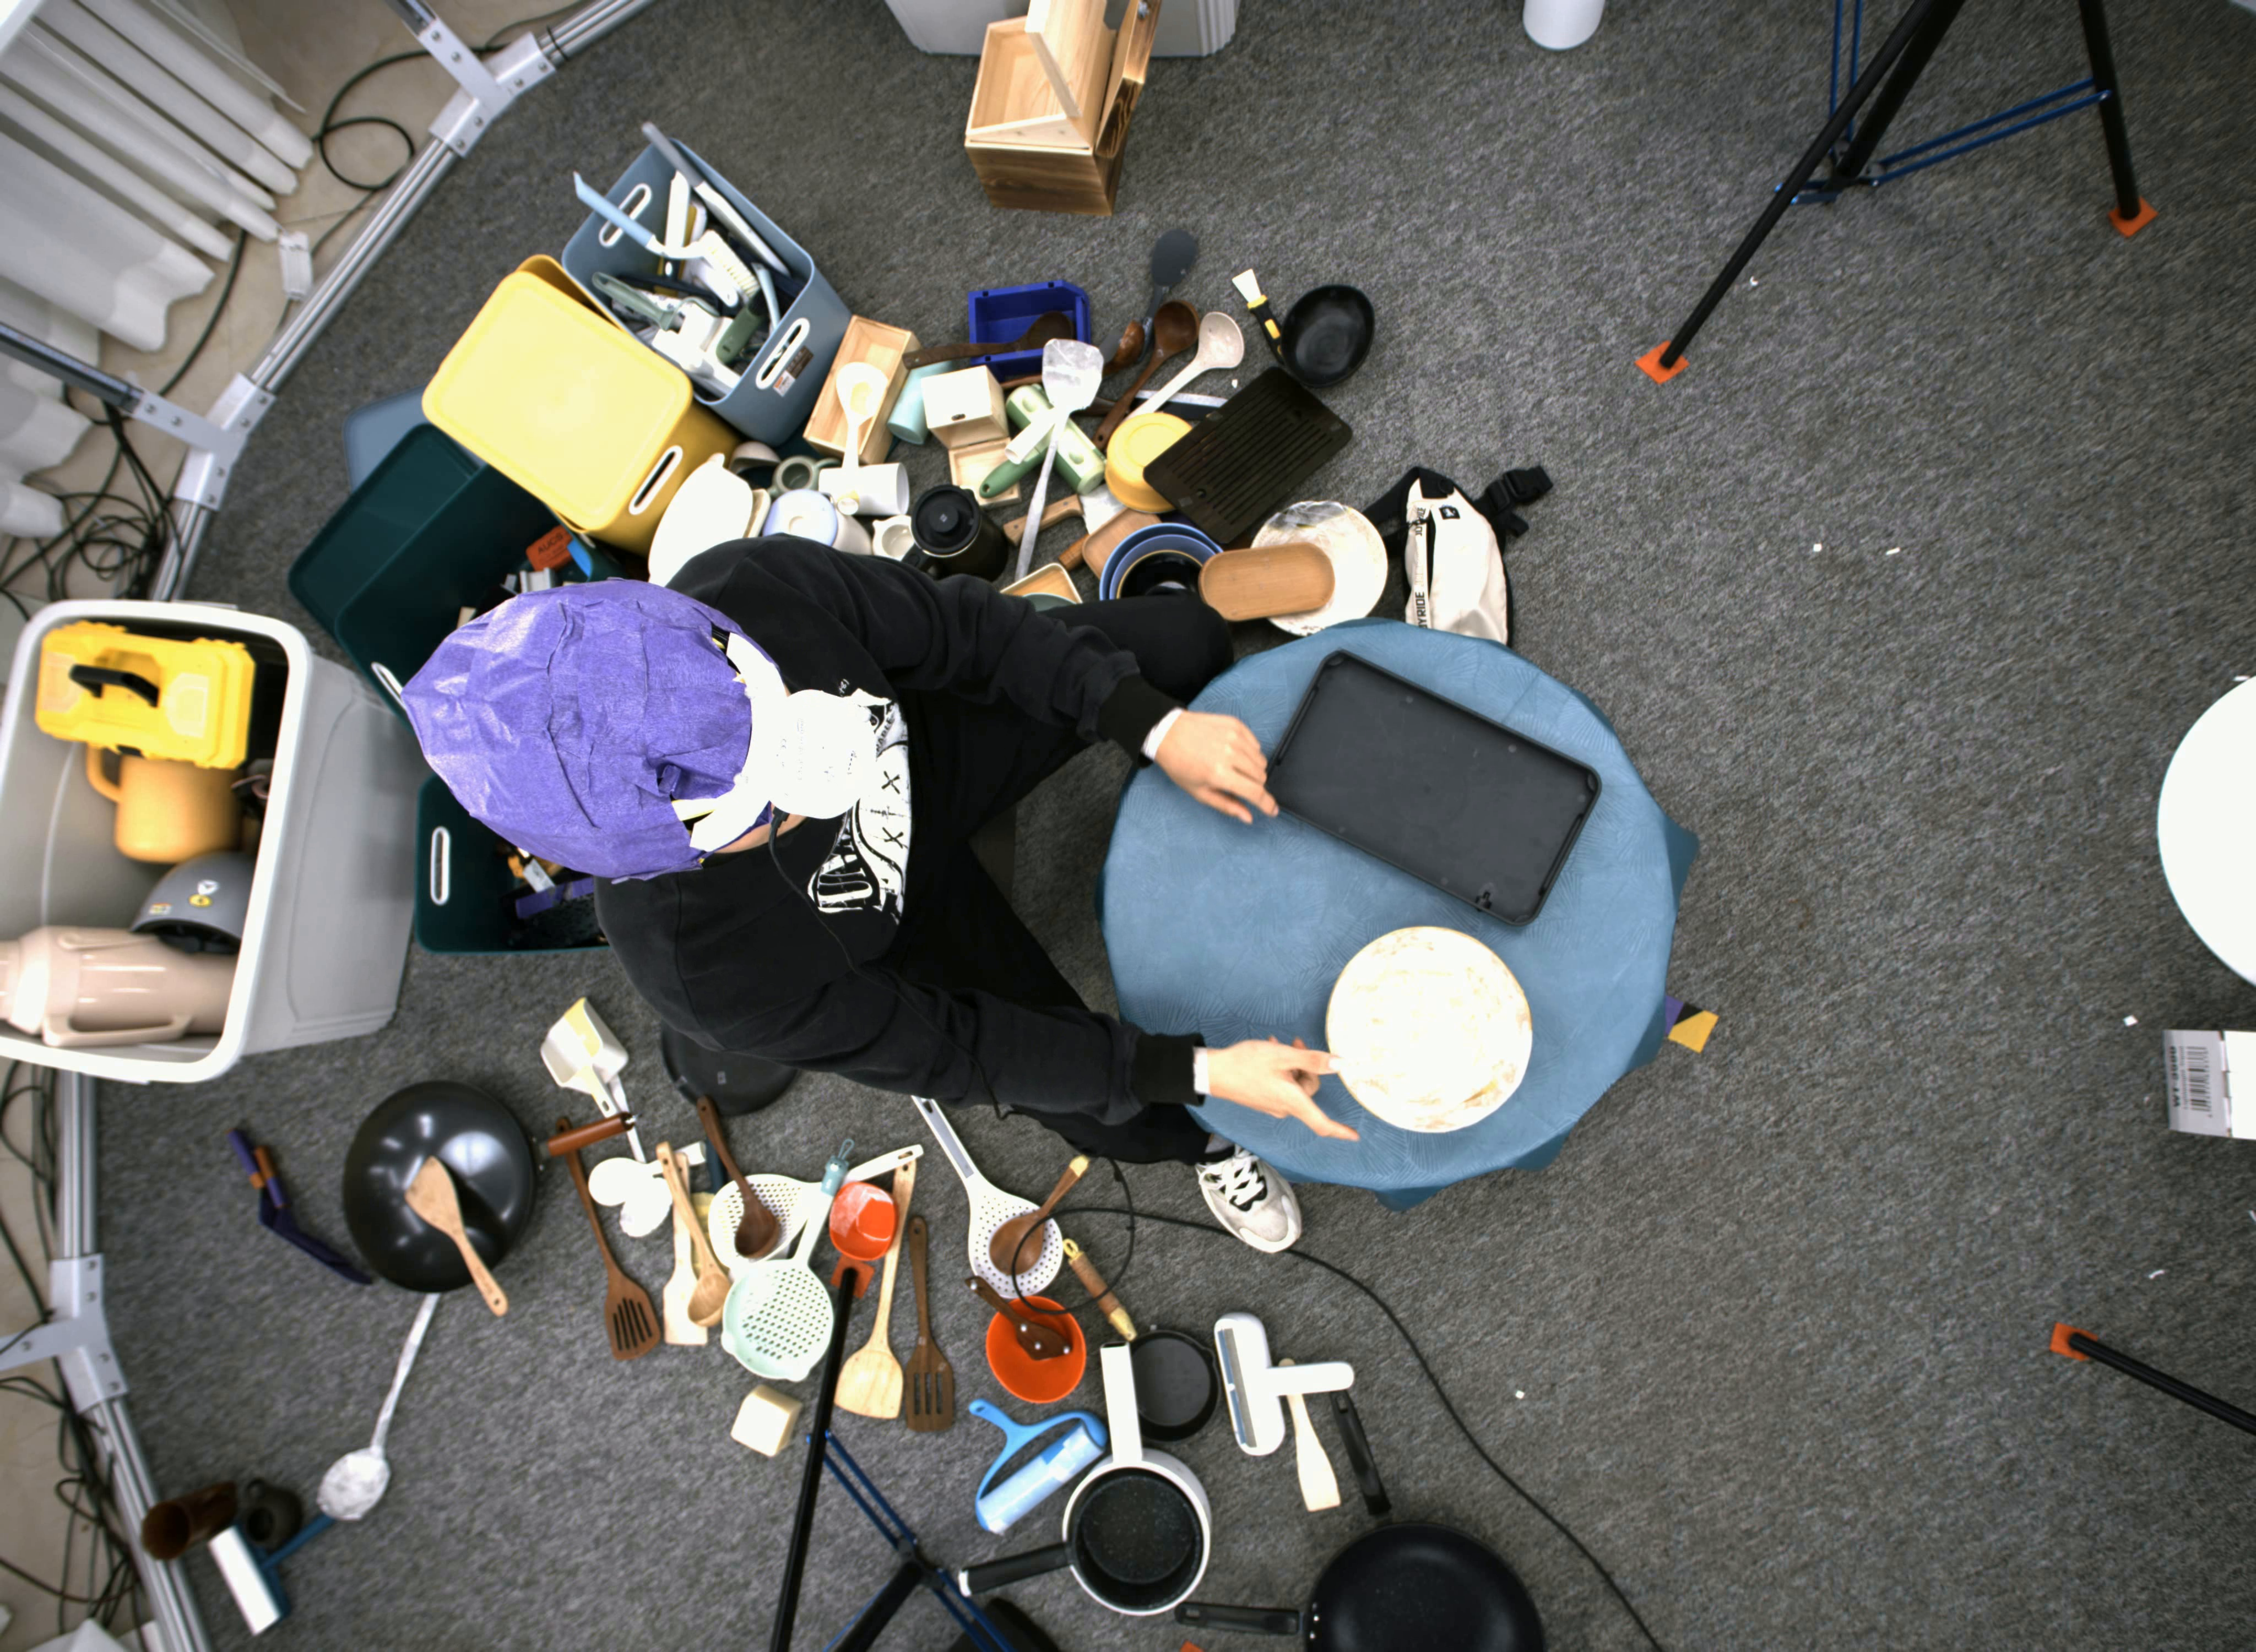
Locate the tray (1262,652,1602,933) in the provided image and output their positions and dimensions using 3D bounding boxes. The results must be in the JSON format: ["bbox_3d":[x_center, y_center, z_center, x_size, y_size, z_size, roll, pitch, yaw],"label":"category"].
[{"bbox_3d":[0.316,-0.037,1.448,0.317,0.037,0.184,29,90,9],"label":"tray"}]

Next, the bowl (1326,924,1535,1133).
[{"bbox_3d":[0.305,0.200,1.402,0.215,0.094,0.214,-1,87,11],"label":"bowl"}]
